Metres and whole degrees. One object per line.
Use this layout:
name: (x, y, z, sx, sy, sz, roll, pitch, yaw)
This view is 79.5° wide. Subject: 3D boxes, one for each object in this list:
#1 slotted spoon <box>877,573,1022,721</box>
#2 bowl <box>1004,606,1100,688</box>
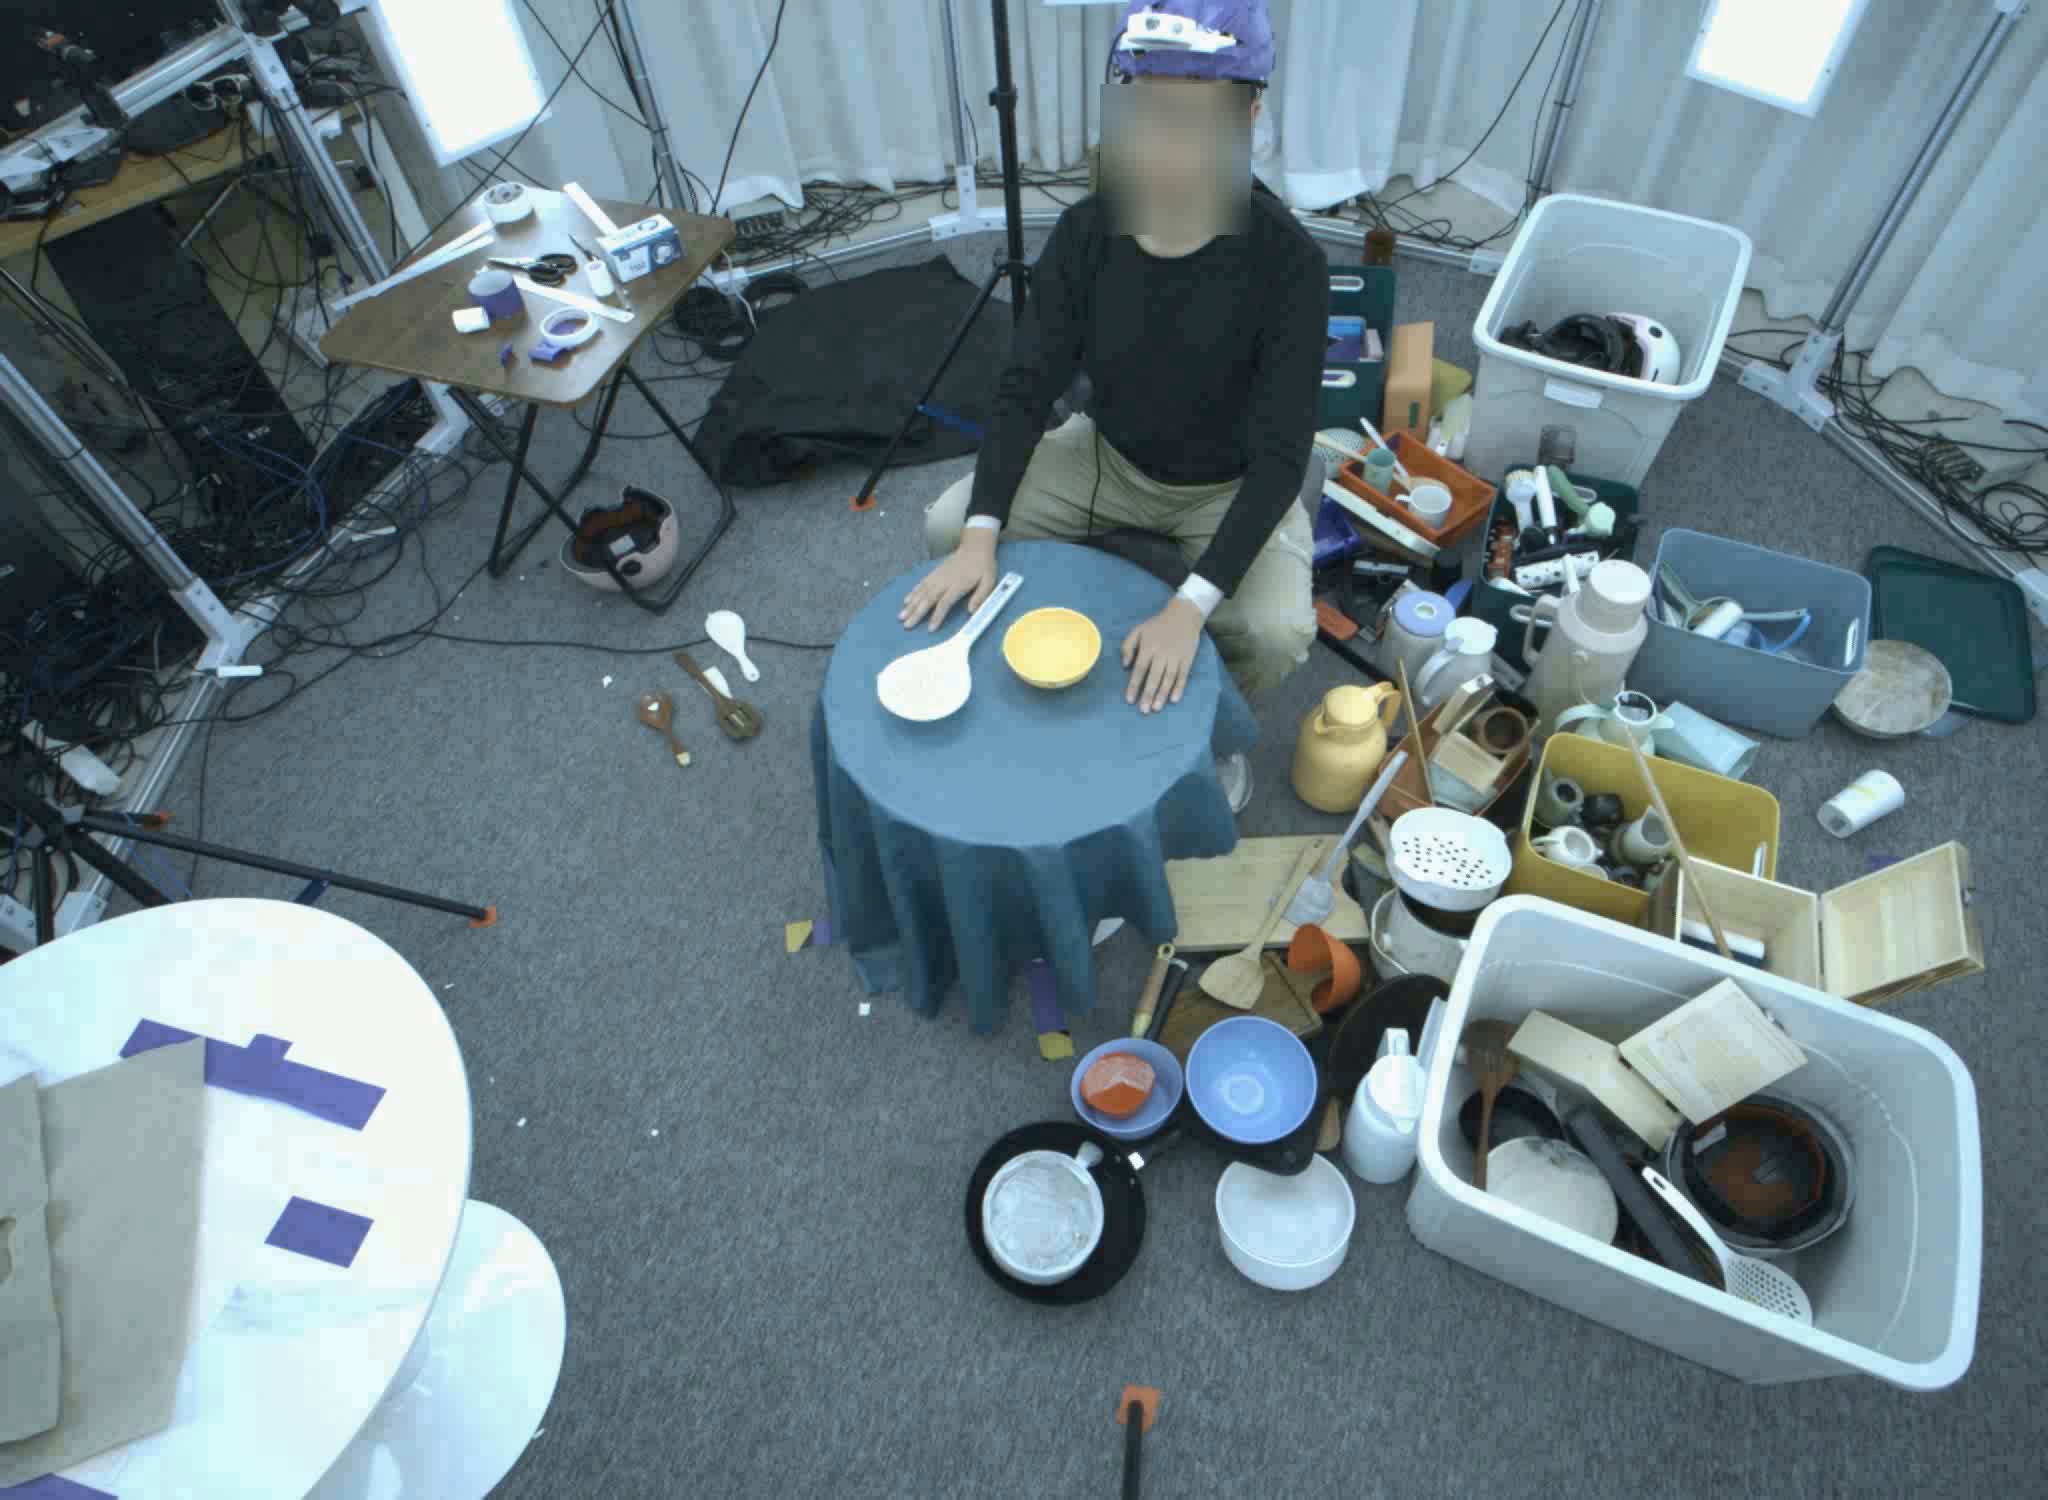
slotted spoon: (-0.097, -0.163, 1.878, 0.134, 0.046, 0.350, 23, 58, 16)
bowl: (0.044, -0.143, 1.853, 0.145, 0.061, 0.144, -1, 57, 2)
